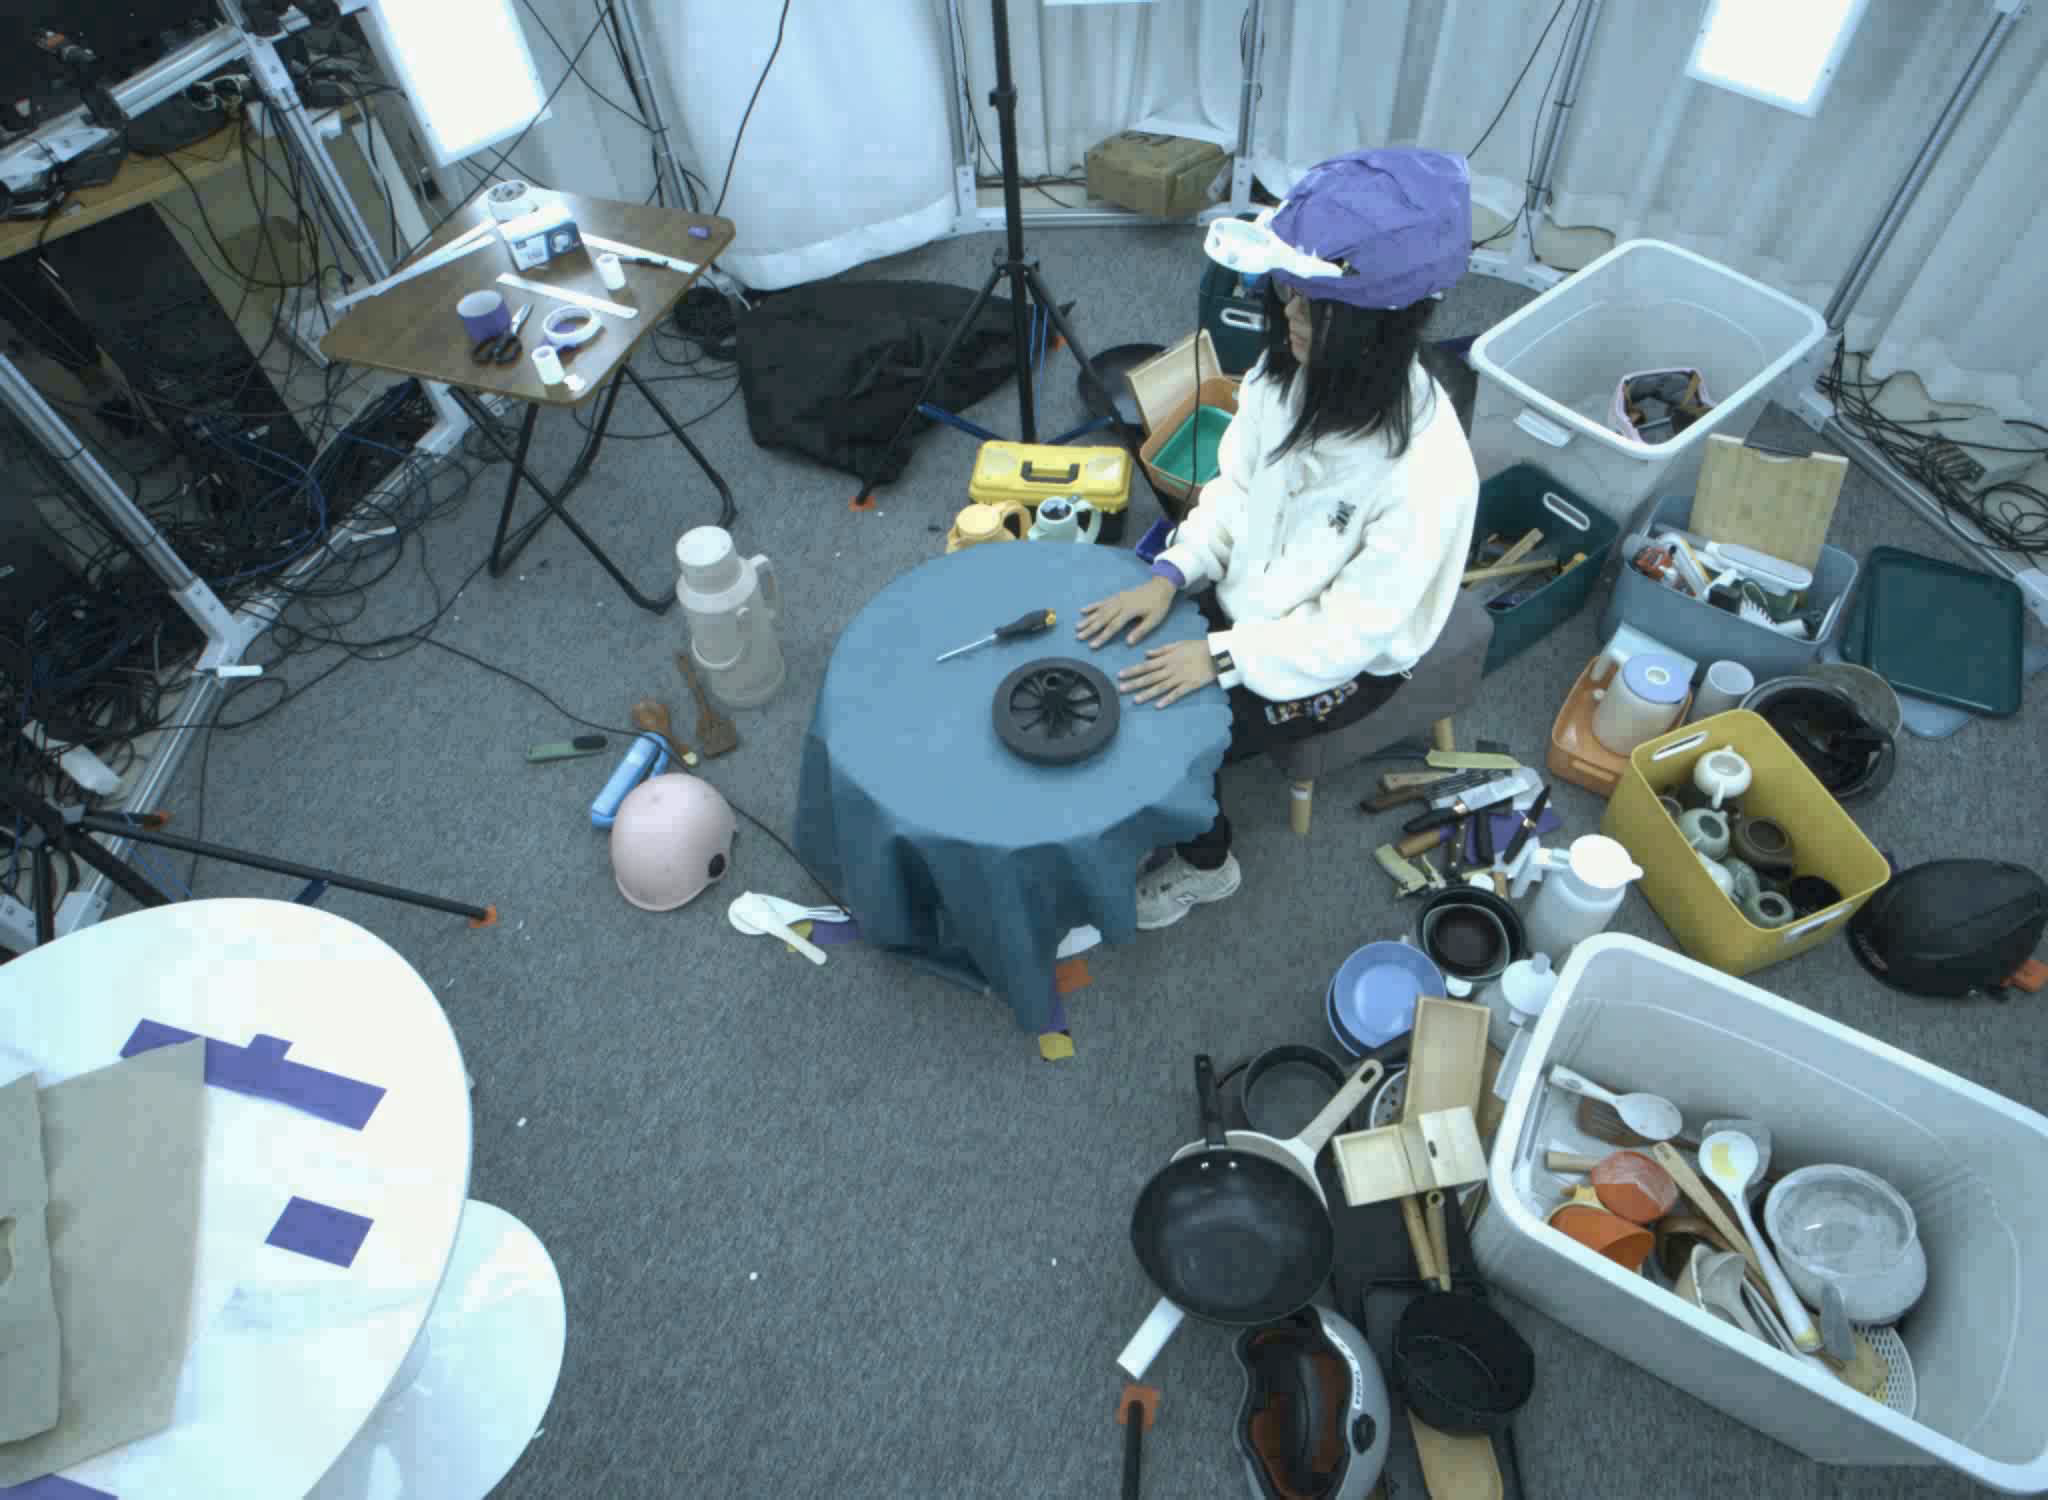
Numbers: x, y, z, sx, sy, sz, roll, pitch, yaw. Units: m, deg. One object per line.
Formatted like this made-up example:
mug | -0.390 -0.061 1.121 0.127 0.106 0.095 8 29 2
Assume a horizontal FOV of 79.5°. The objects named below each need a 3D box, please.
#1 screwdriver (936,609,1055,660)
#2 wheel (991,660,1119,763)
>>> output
screwdriver | -0.044 -0.174 1.897 0.197 0.032 0.031 -24 57 -11
wheel | 0.043 -0.072 1.792 0.186 0.080 0.188 29 61 25
